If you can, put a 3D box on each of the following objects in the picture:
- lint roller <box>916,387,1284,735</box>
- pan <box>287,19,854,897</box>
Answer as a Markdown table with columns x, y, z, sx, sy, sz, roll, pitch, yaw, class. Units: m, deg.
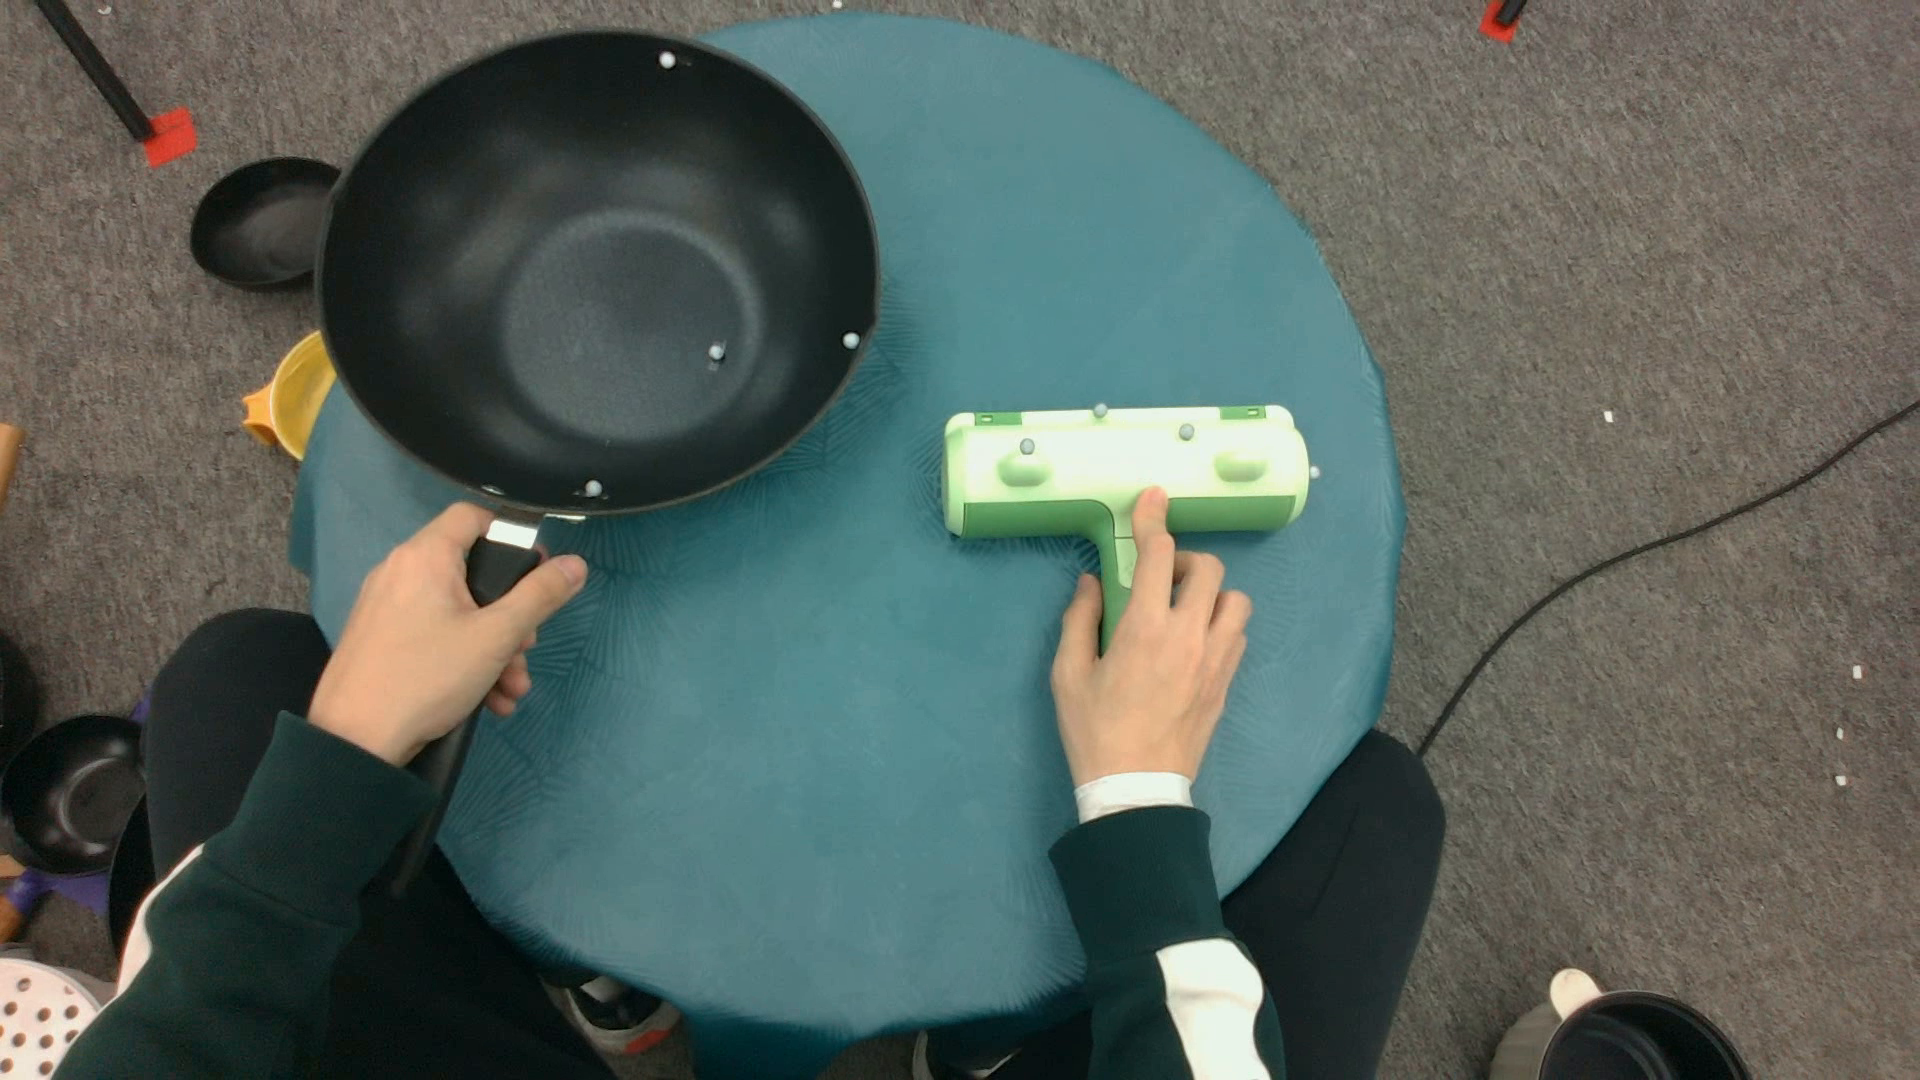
| x | y | z | sx | sy | sz | roll | pitch | yaw | class |
| --- | --- | --- | --- | --- | --- | --- | --- | --- | --- |
| 0.081 | 0.005 | 0.722 | 0.199 | 0.082 | 0.184 | -3 | 67 | -6 | lint roller |
| -0.216 | -0.050 | 0.710 | 0.288 | 0.086 | 0.464 | 11 | 72 | -1 | pan |
